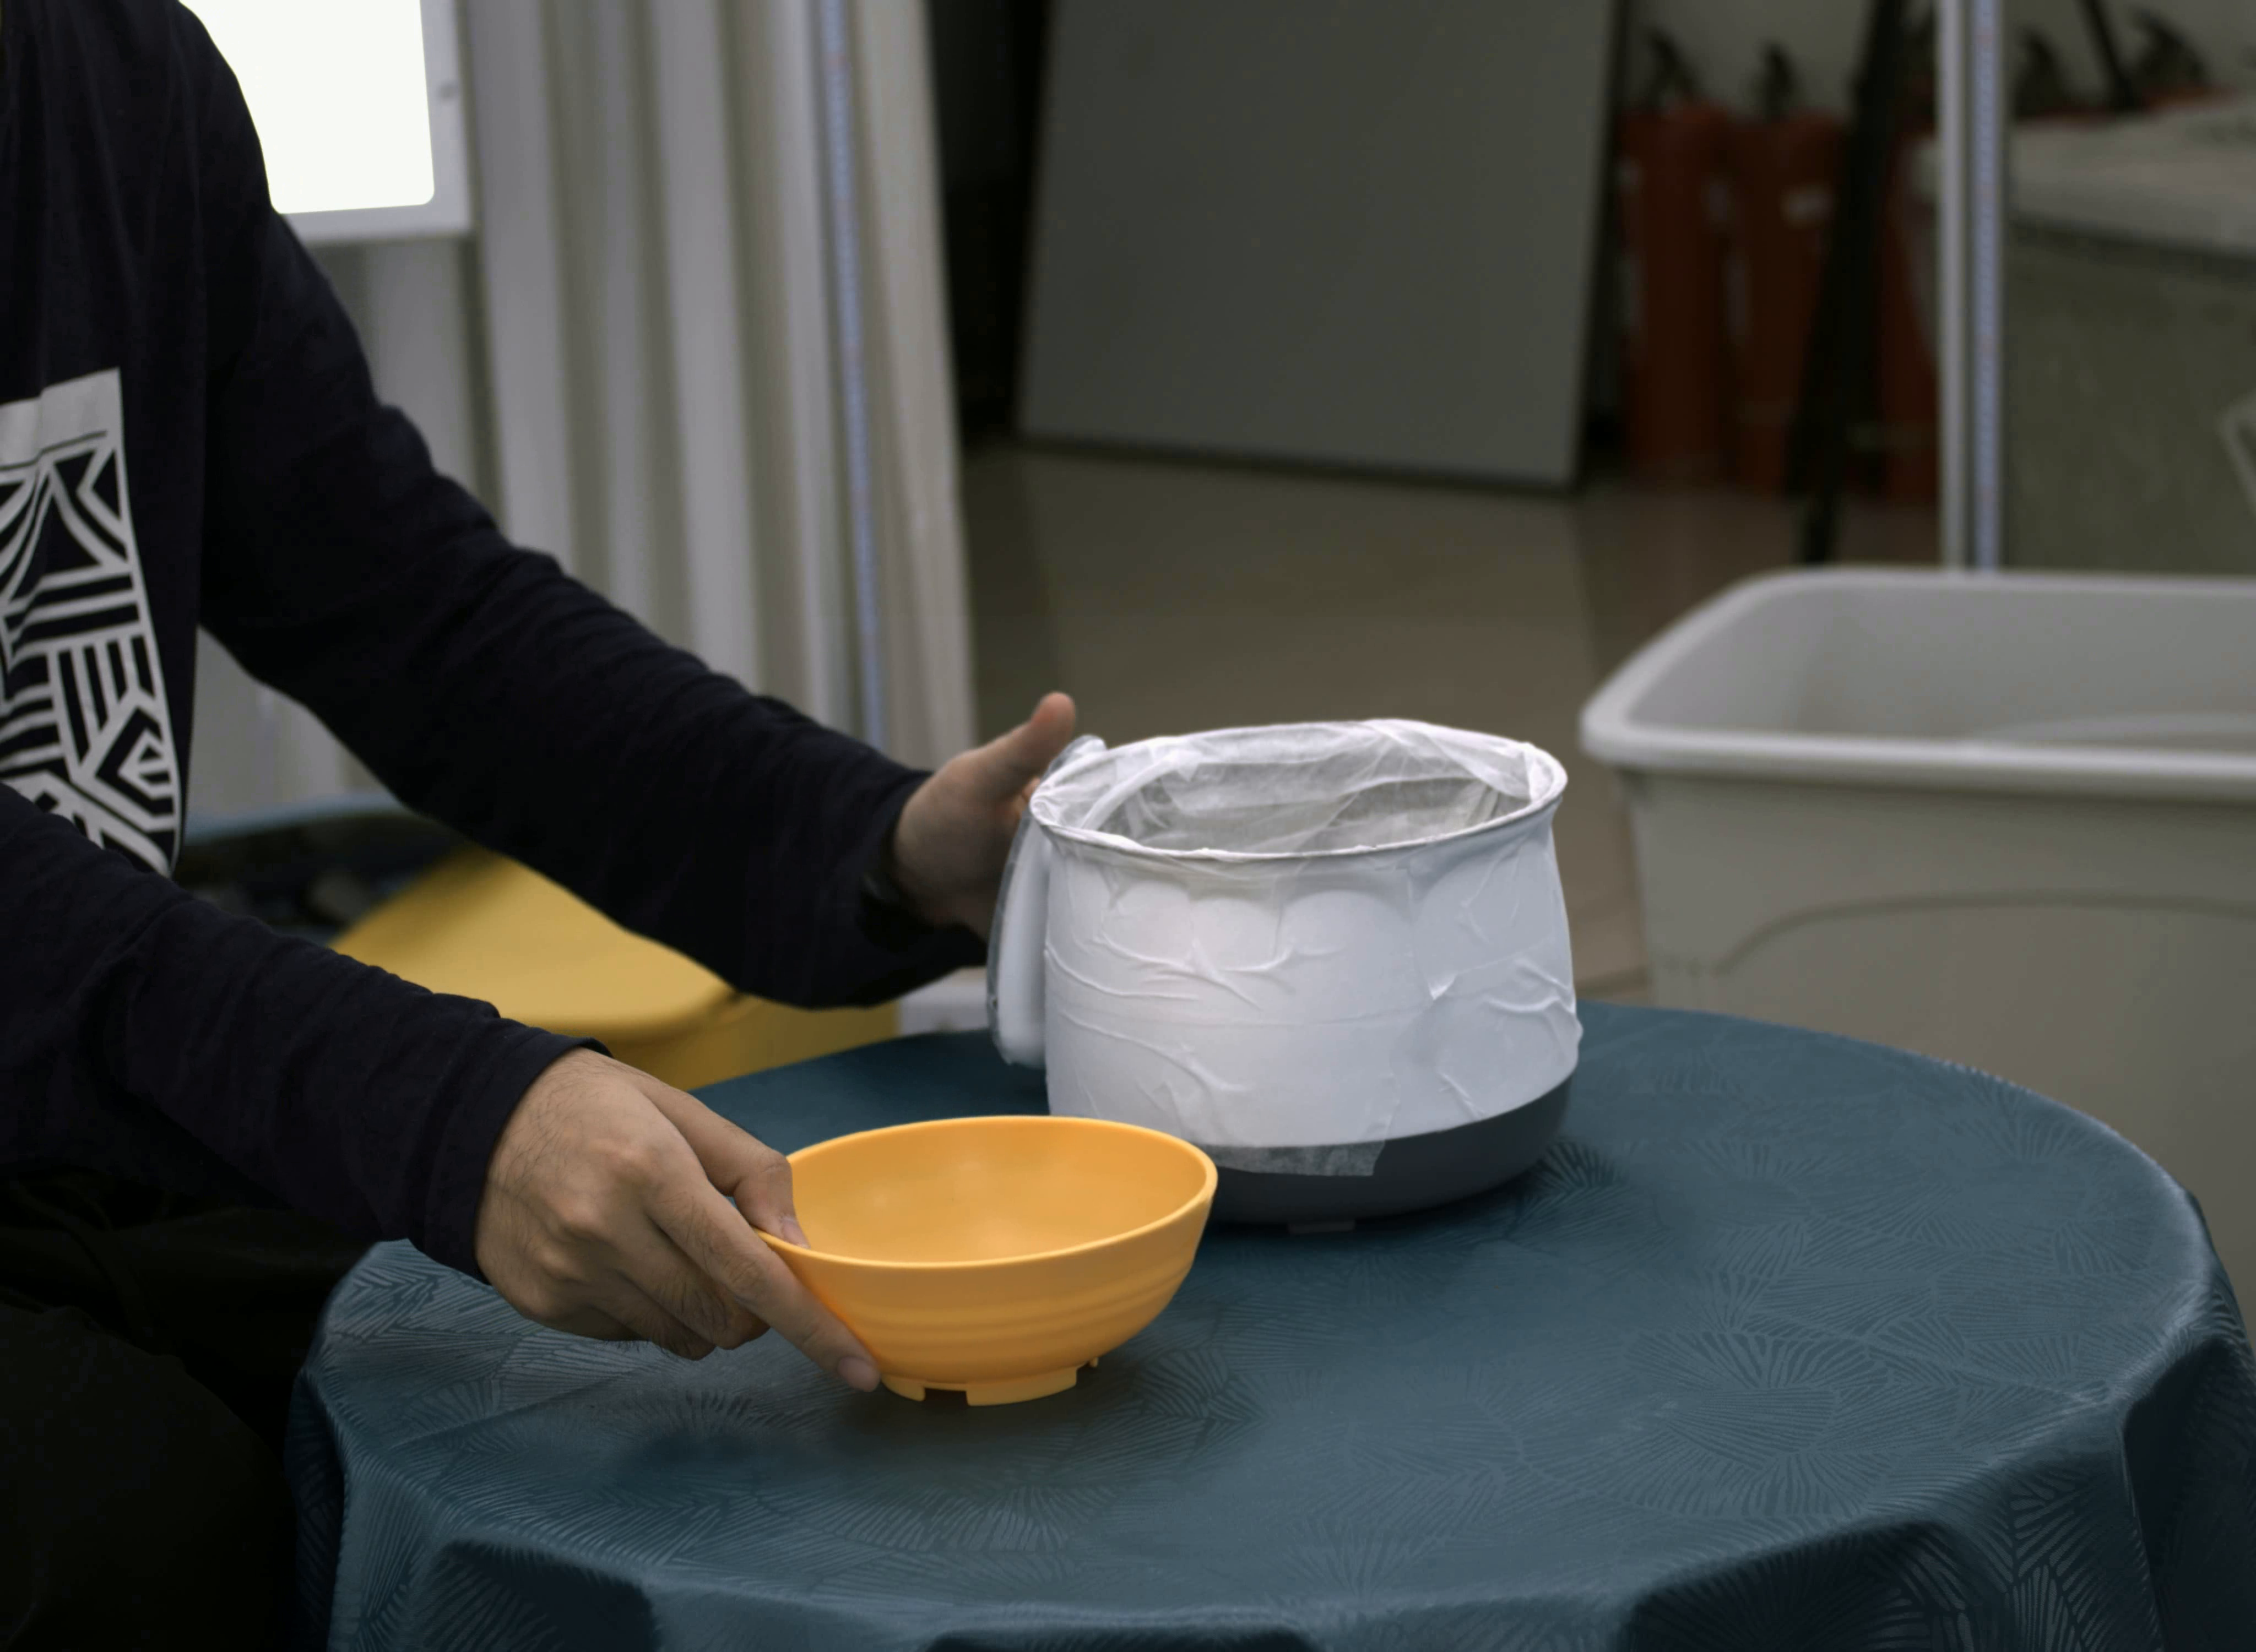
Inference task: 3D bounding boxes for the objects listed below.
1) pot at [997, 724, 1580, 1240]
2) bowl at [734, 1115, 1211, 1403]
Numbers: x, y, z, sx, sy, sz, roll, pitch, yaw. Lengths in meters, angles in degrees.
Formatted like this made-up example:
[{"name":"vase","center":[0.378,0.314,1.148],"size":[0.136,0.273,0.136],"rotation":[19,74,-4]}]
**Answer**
[{"name":"pot","center":[0.040,0.046,1.789],"size":[0.175,0.138,0.236],"rotation":[-16,17,-42]},{"name":"bowl","center":[-0.045,0.133,1.606],"size":[0.143,0.061,0.145],"rotation":[-2,13,0]}]
